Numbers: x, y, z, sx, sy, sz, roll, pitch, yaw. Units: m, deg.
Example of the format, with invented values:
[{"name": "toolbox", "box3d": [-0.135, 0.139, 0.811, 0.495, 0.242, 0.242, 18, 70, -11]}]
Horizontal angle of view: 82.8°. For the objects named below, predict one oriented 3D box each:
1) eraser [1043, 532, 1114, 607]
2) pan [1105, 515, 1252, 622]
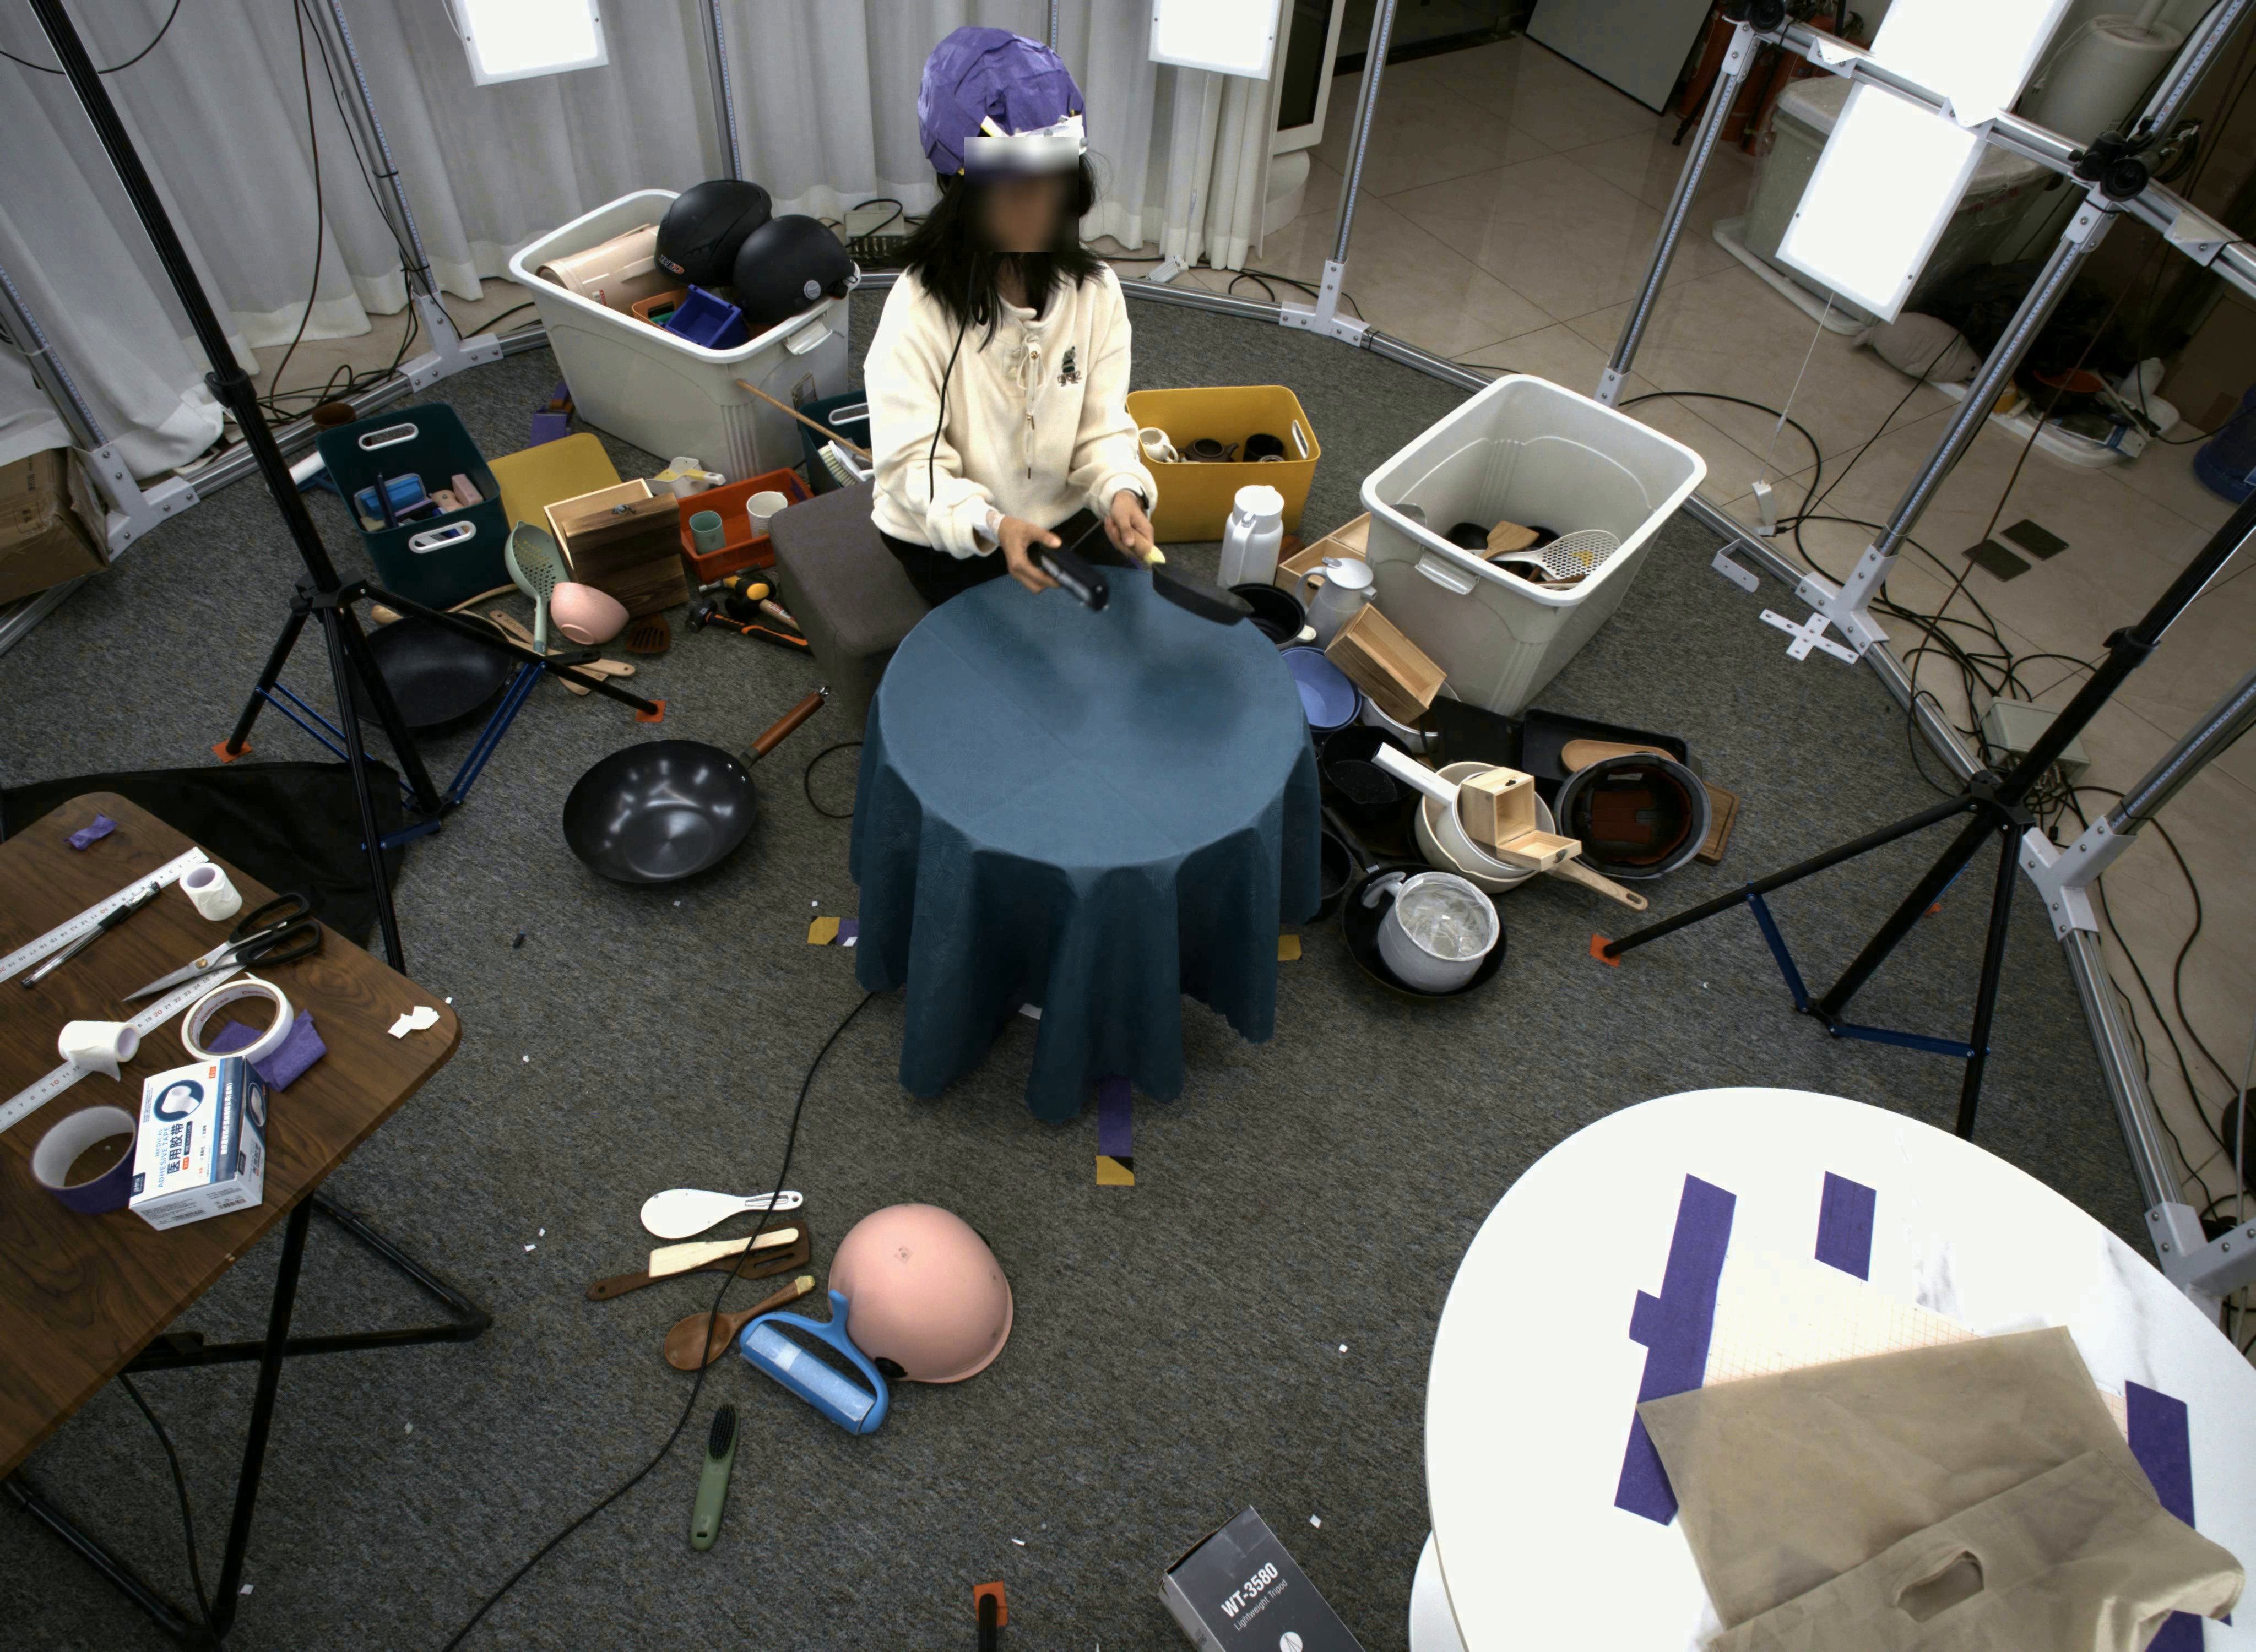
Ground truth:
[{"name": "eraser", "box3d": [-0.069, -0.360, 1.802, 0.030, 0.052, 0.128, -34, 55, -22]}, {"name": "pan", "box3d": [0.055, -0.376, 1.860, 0.167, 0.049, 0.331, 10, 24, -40]}]
